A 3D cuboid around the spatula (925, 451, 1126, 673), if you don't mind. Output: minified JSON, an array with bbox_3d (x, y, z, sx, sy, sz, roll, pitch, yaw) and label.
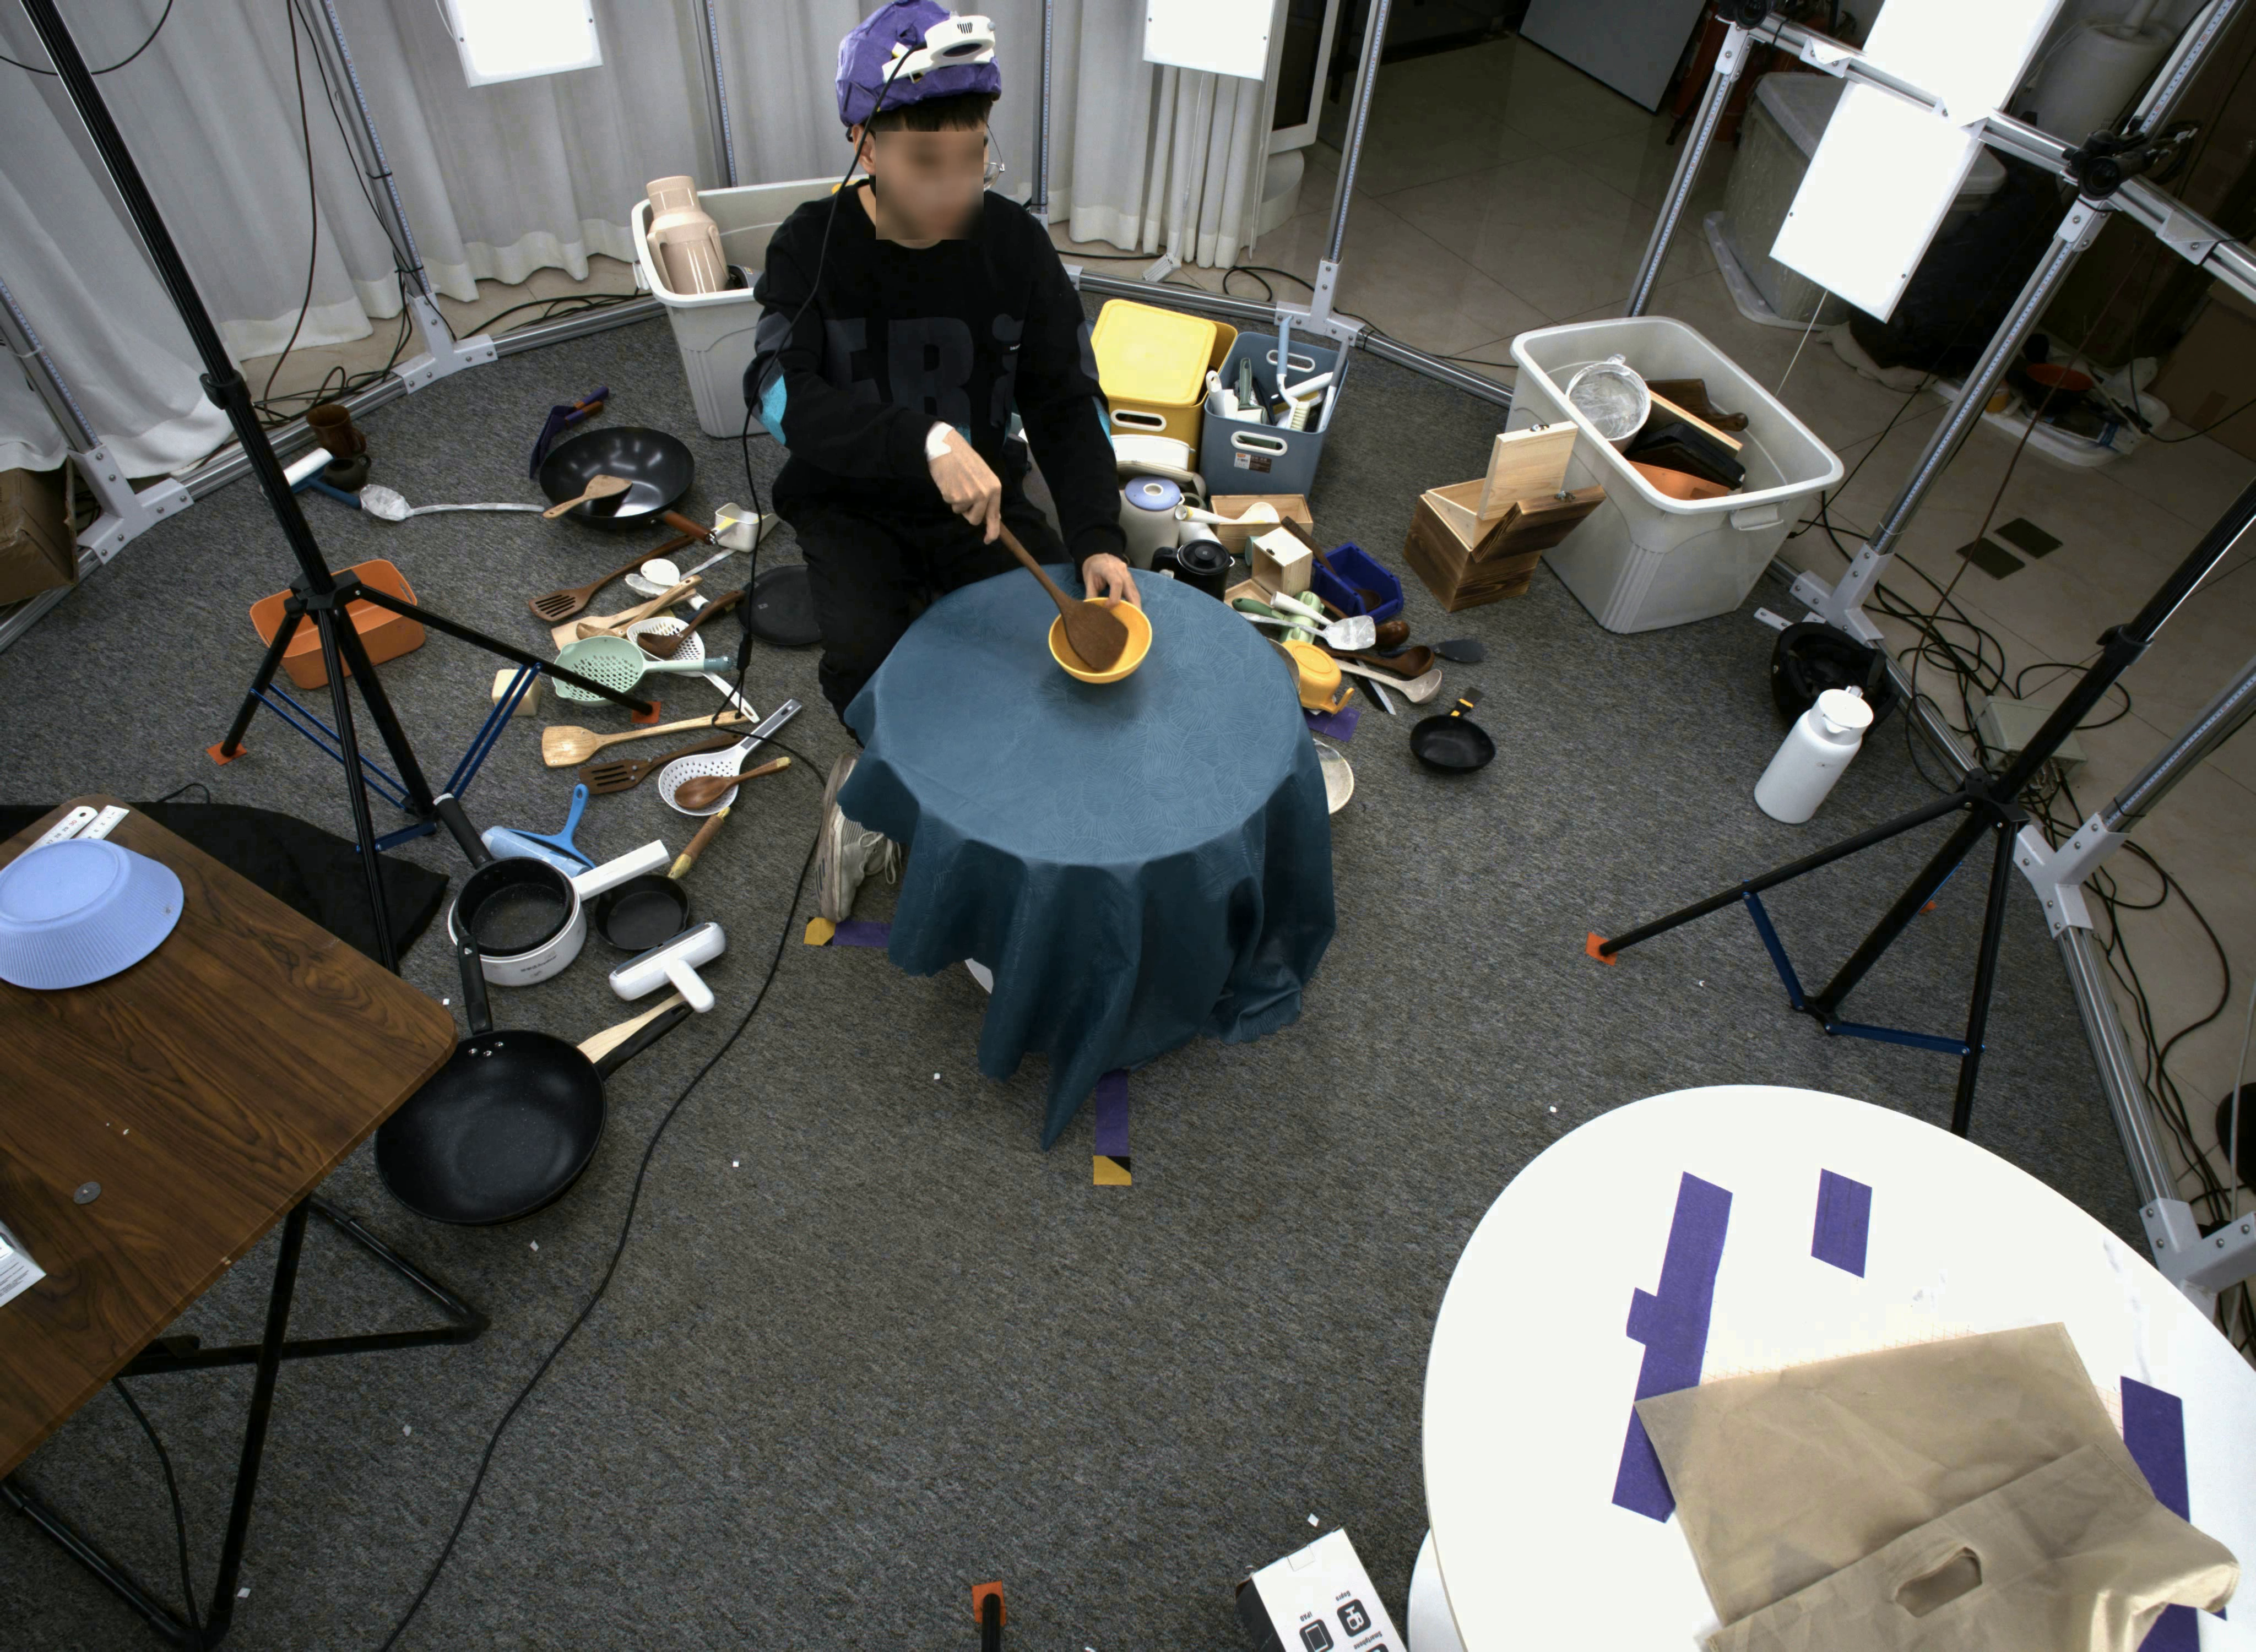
[{"bbox_3d":[-0.141,-0.369,1.790,0.380,0.016,0.098,46,56,-21],"label":"spatula"}]

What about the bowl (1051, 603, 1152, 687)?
[{"bbox_3d":[-0.037,-0.248,1.844,0.145,0.058,0.149,-1,54,2],"label":"bowl"}]
